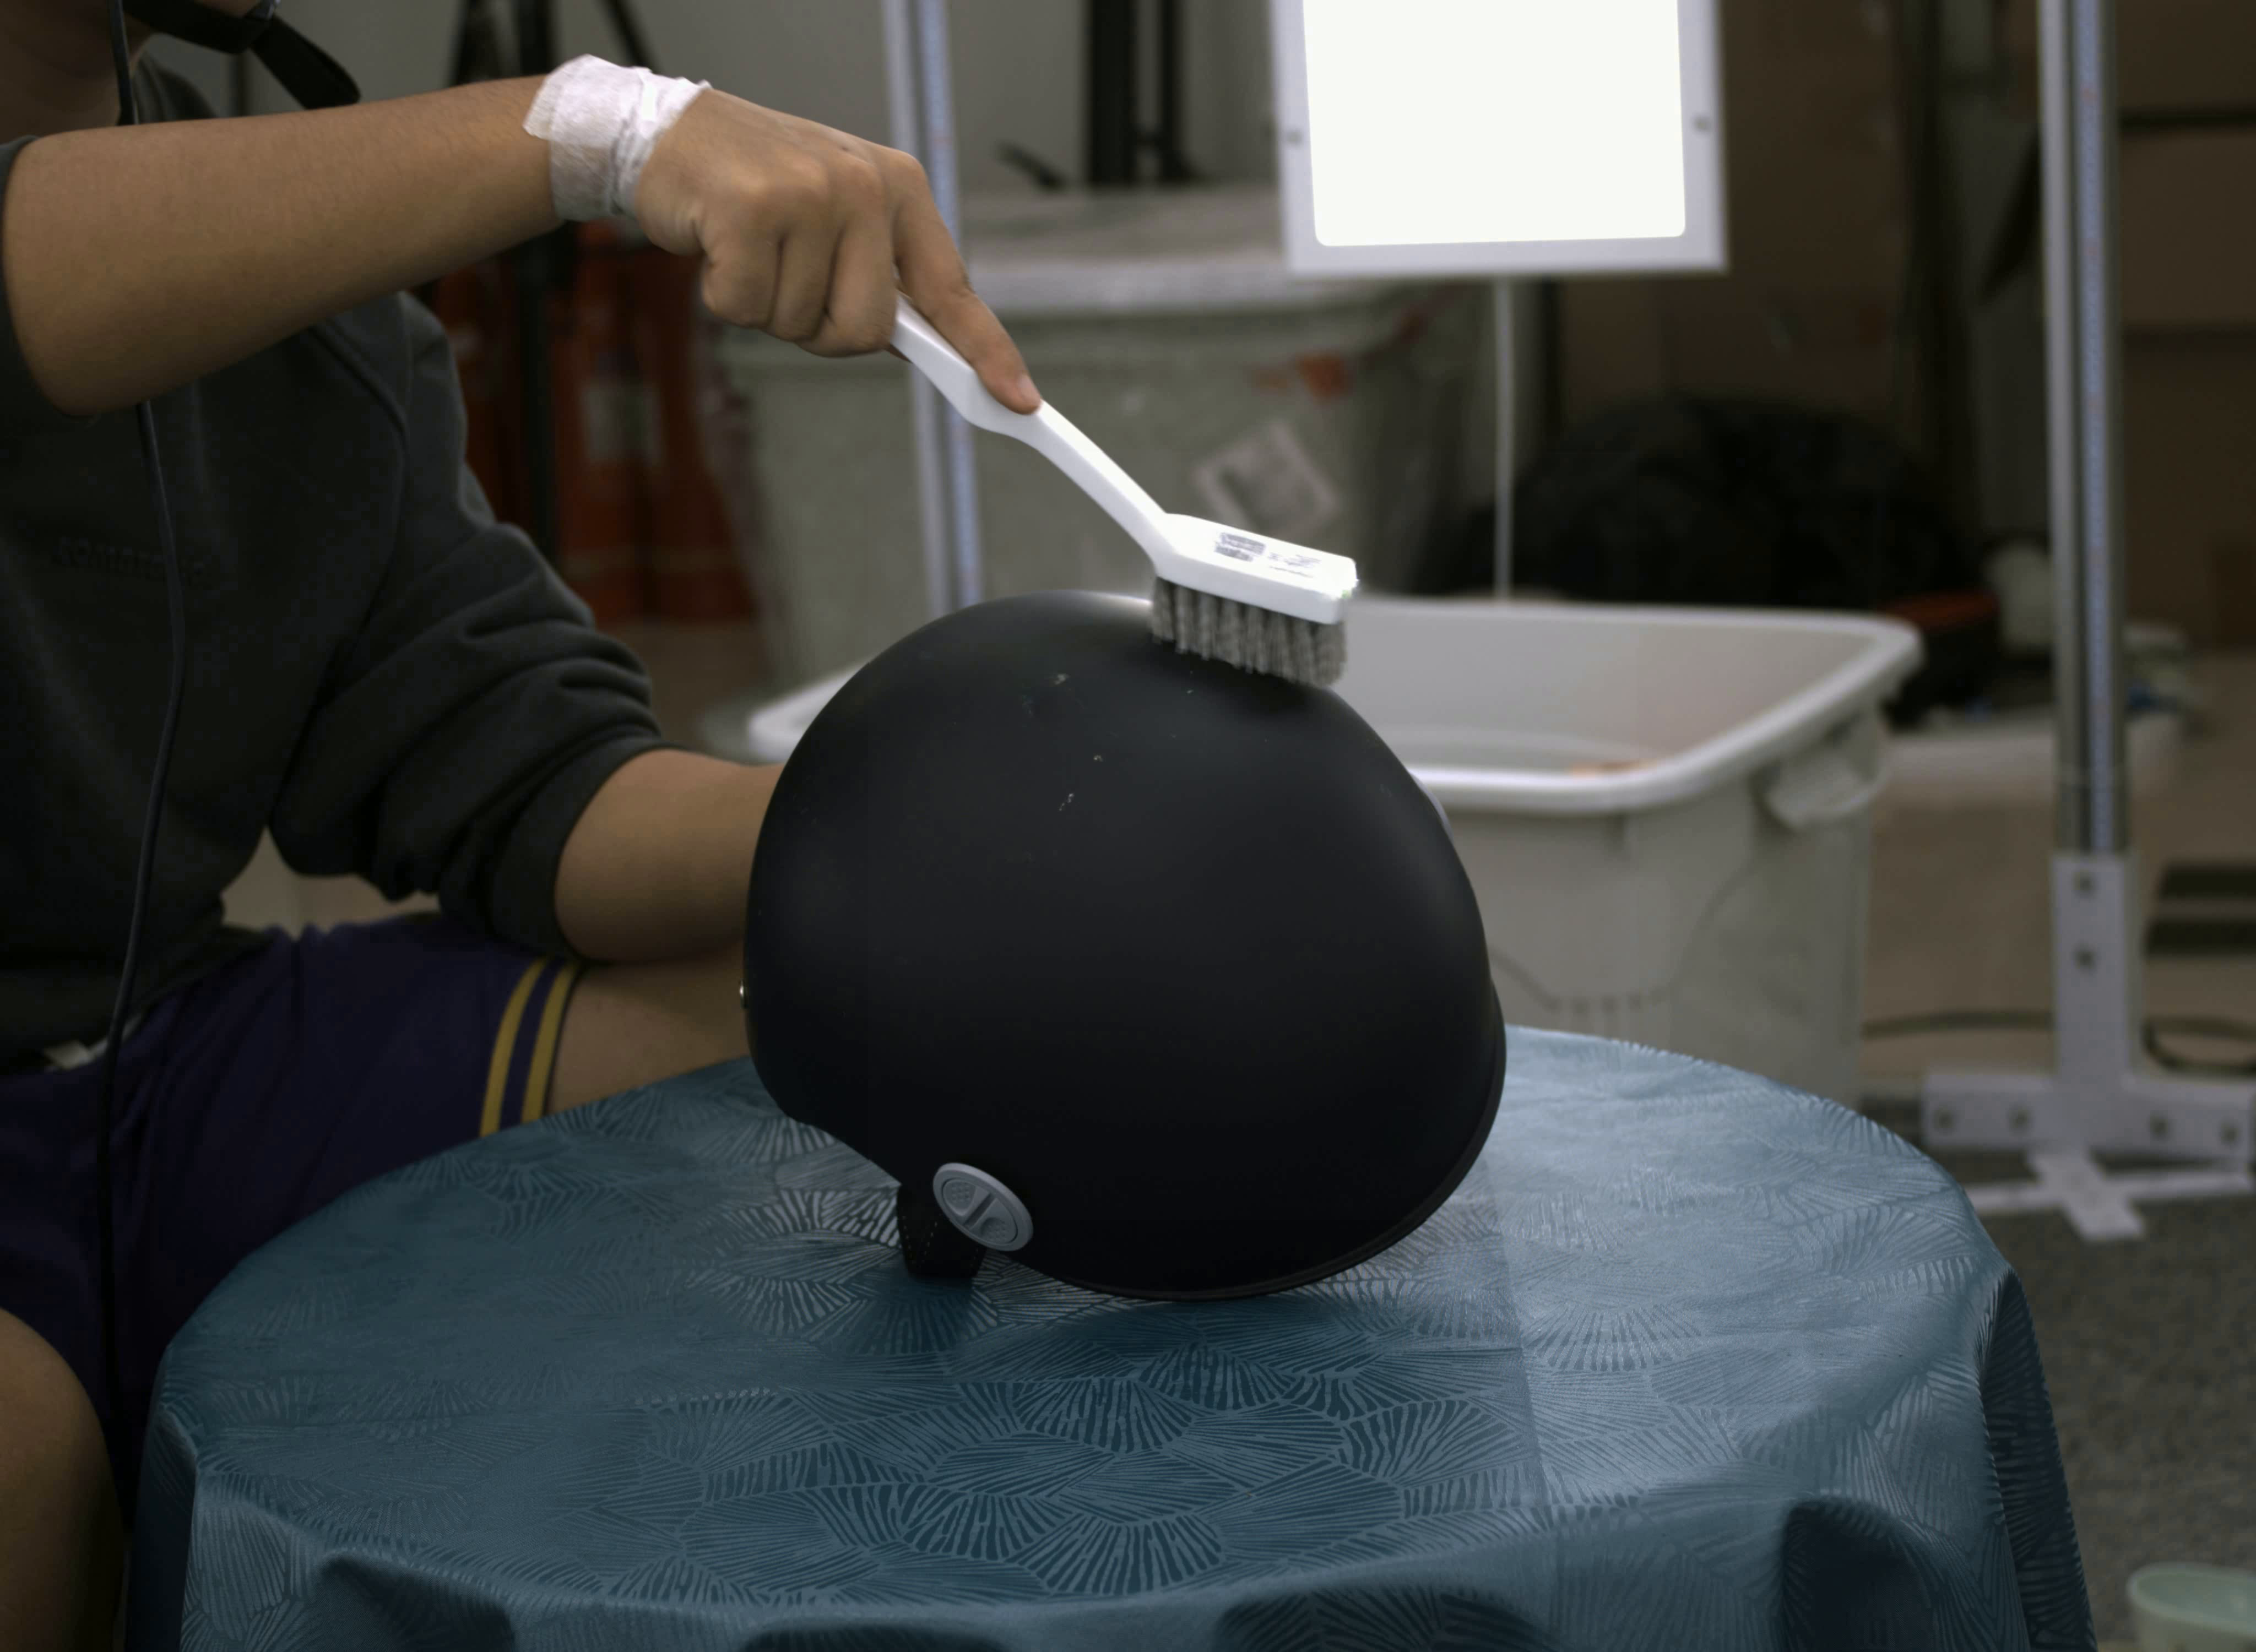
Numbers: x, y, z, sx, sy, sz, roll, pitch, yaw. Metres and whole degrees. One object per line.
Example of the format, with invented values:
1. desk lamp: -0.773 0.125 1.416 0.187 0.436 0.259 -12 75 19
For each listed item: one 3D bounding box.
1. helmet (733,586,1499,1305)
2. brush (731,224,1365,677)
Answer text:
1. helmet: -0.010 0.020 1.818 0.226 0.167 0.277 -40 51 -24
2. brush: -0.029 -0.118 1.787 0.243 0.051 0.034 29 27 -3
